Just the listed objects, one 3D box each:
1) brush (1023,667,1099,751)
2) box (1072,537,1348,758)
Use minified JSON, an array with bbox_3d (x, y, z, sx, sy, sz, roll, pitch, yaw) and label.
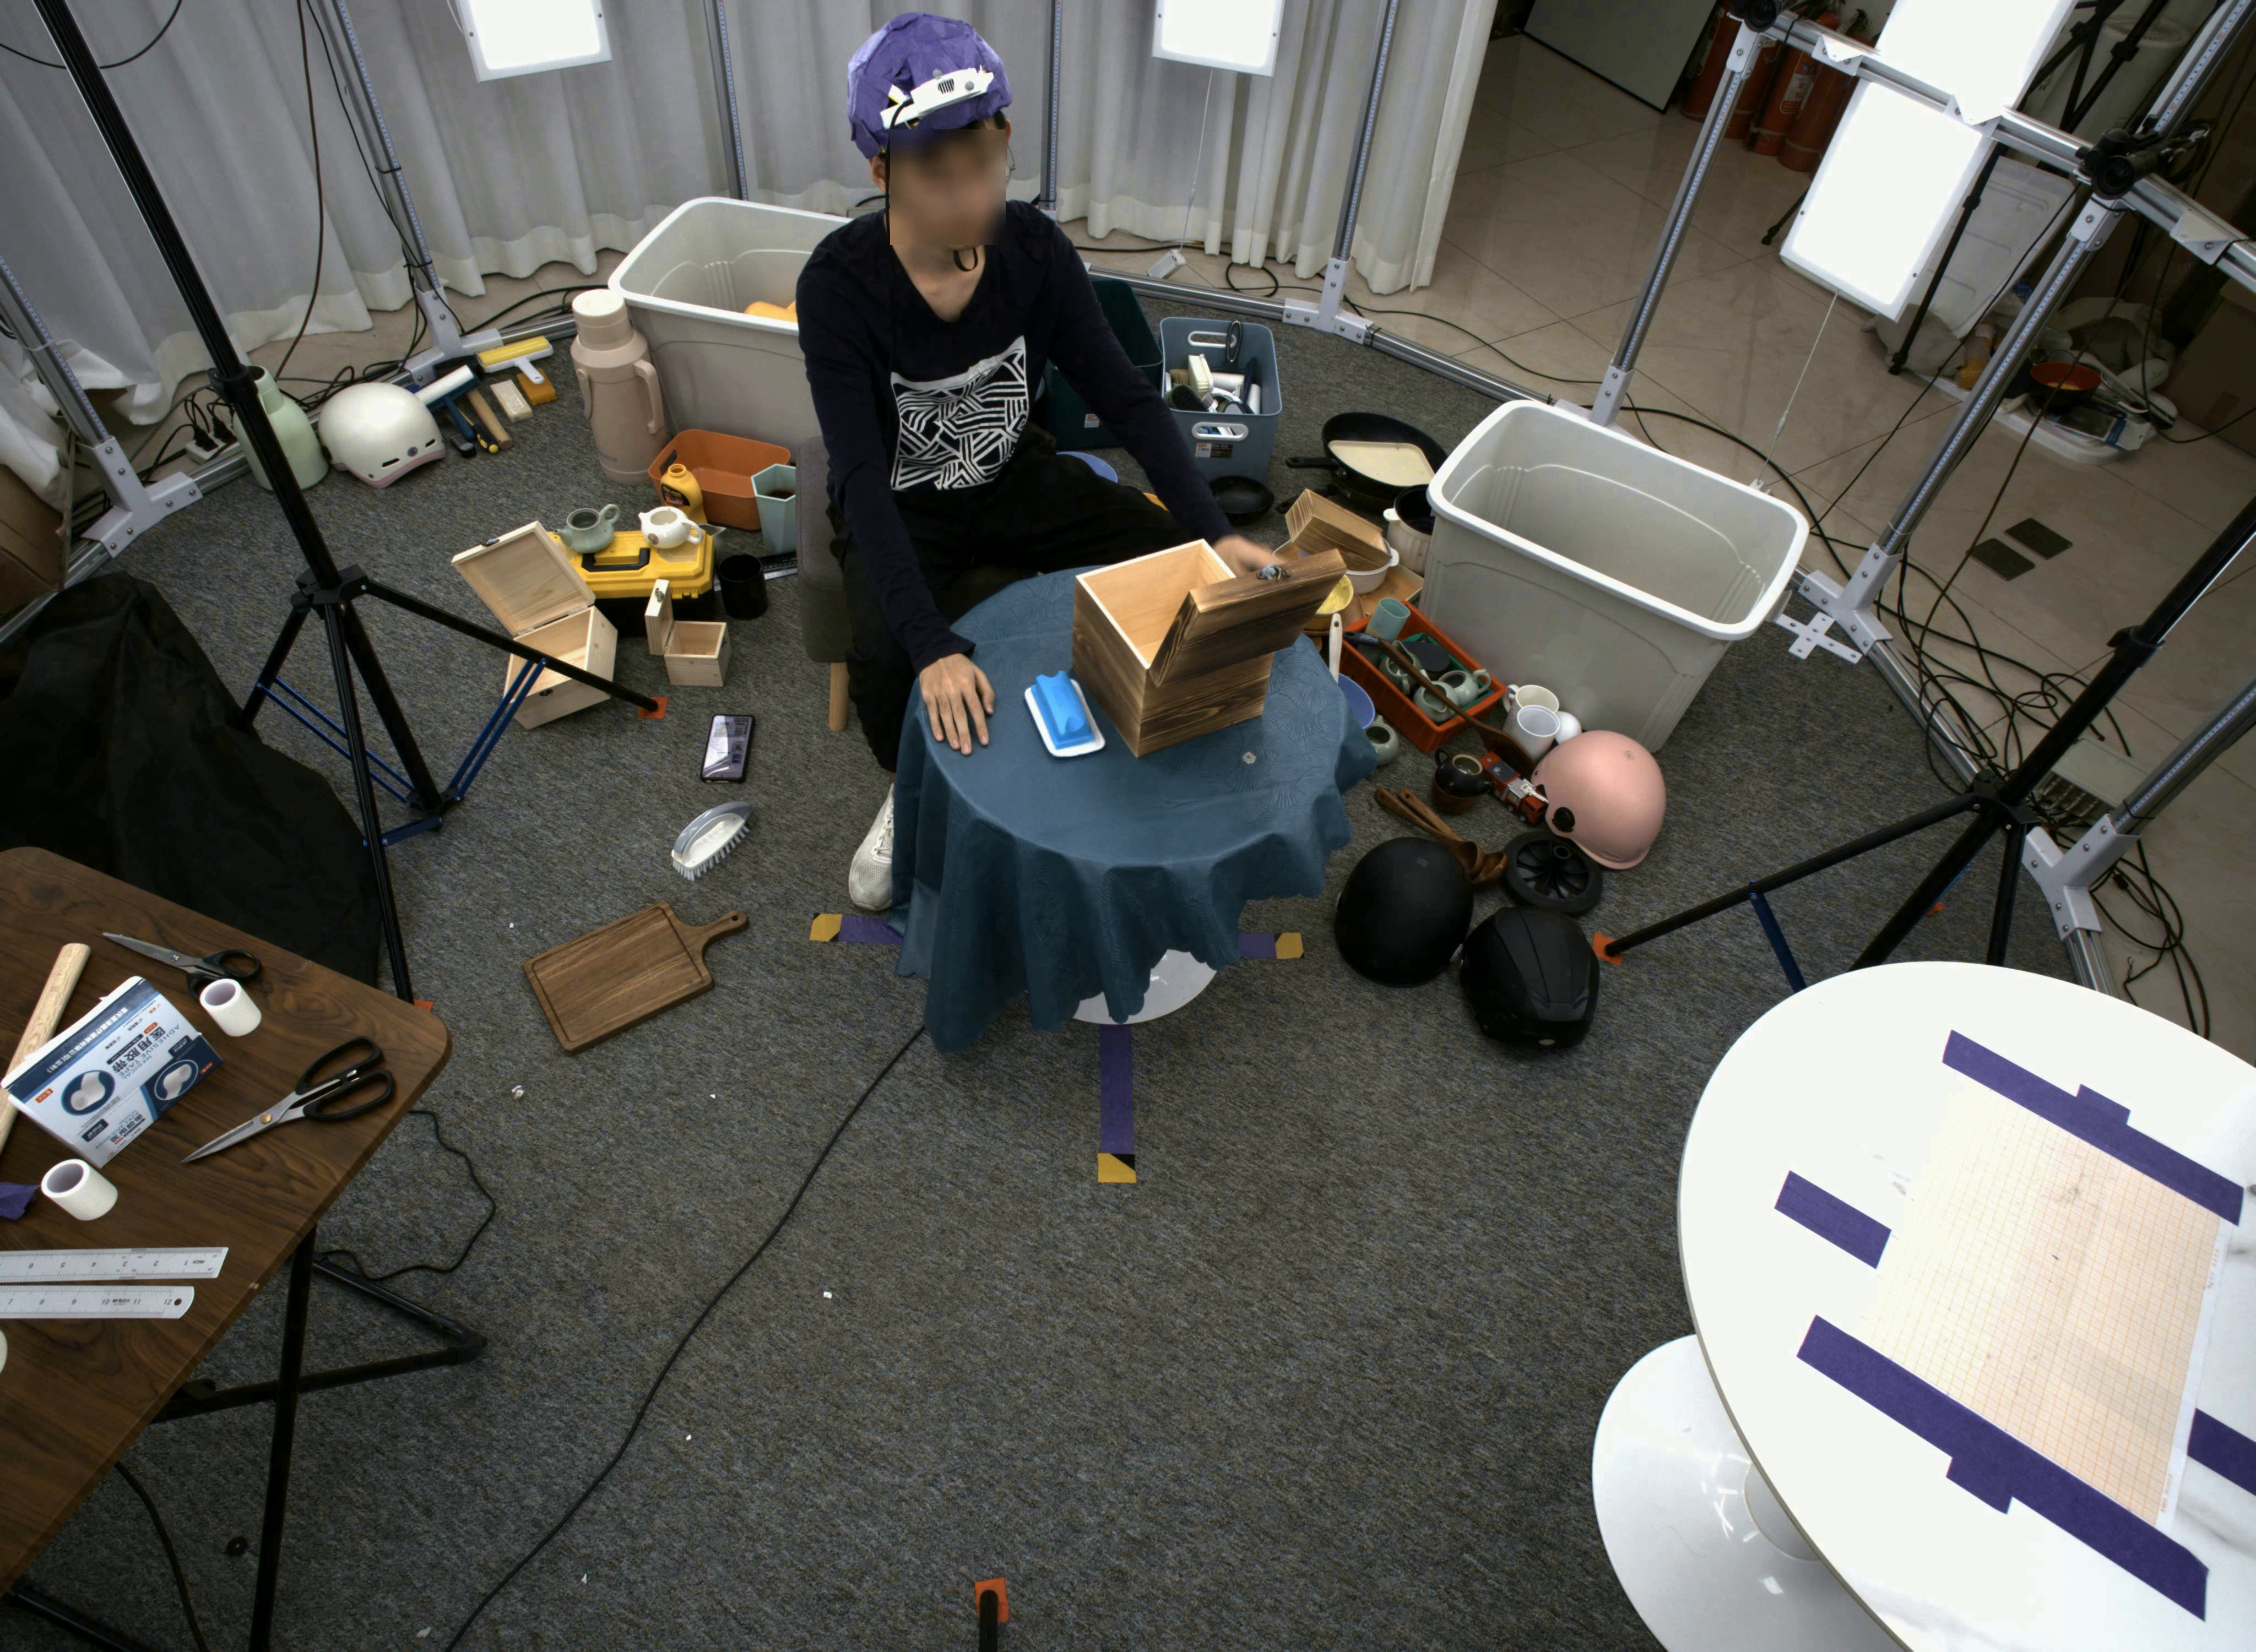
[{"bbox_3d":[-0.091,-0.169,1.769,0.084,0.054,0.147,-9,51,-15],"label":"brush"},{"bbox_3d":[0.090,-0.275,1.679,0.209,0.366,0.329,-19,53,-20],"label":"box"}]
